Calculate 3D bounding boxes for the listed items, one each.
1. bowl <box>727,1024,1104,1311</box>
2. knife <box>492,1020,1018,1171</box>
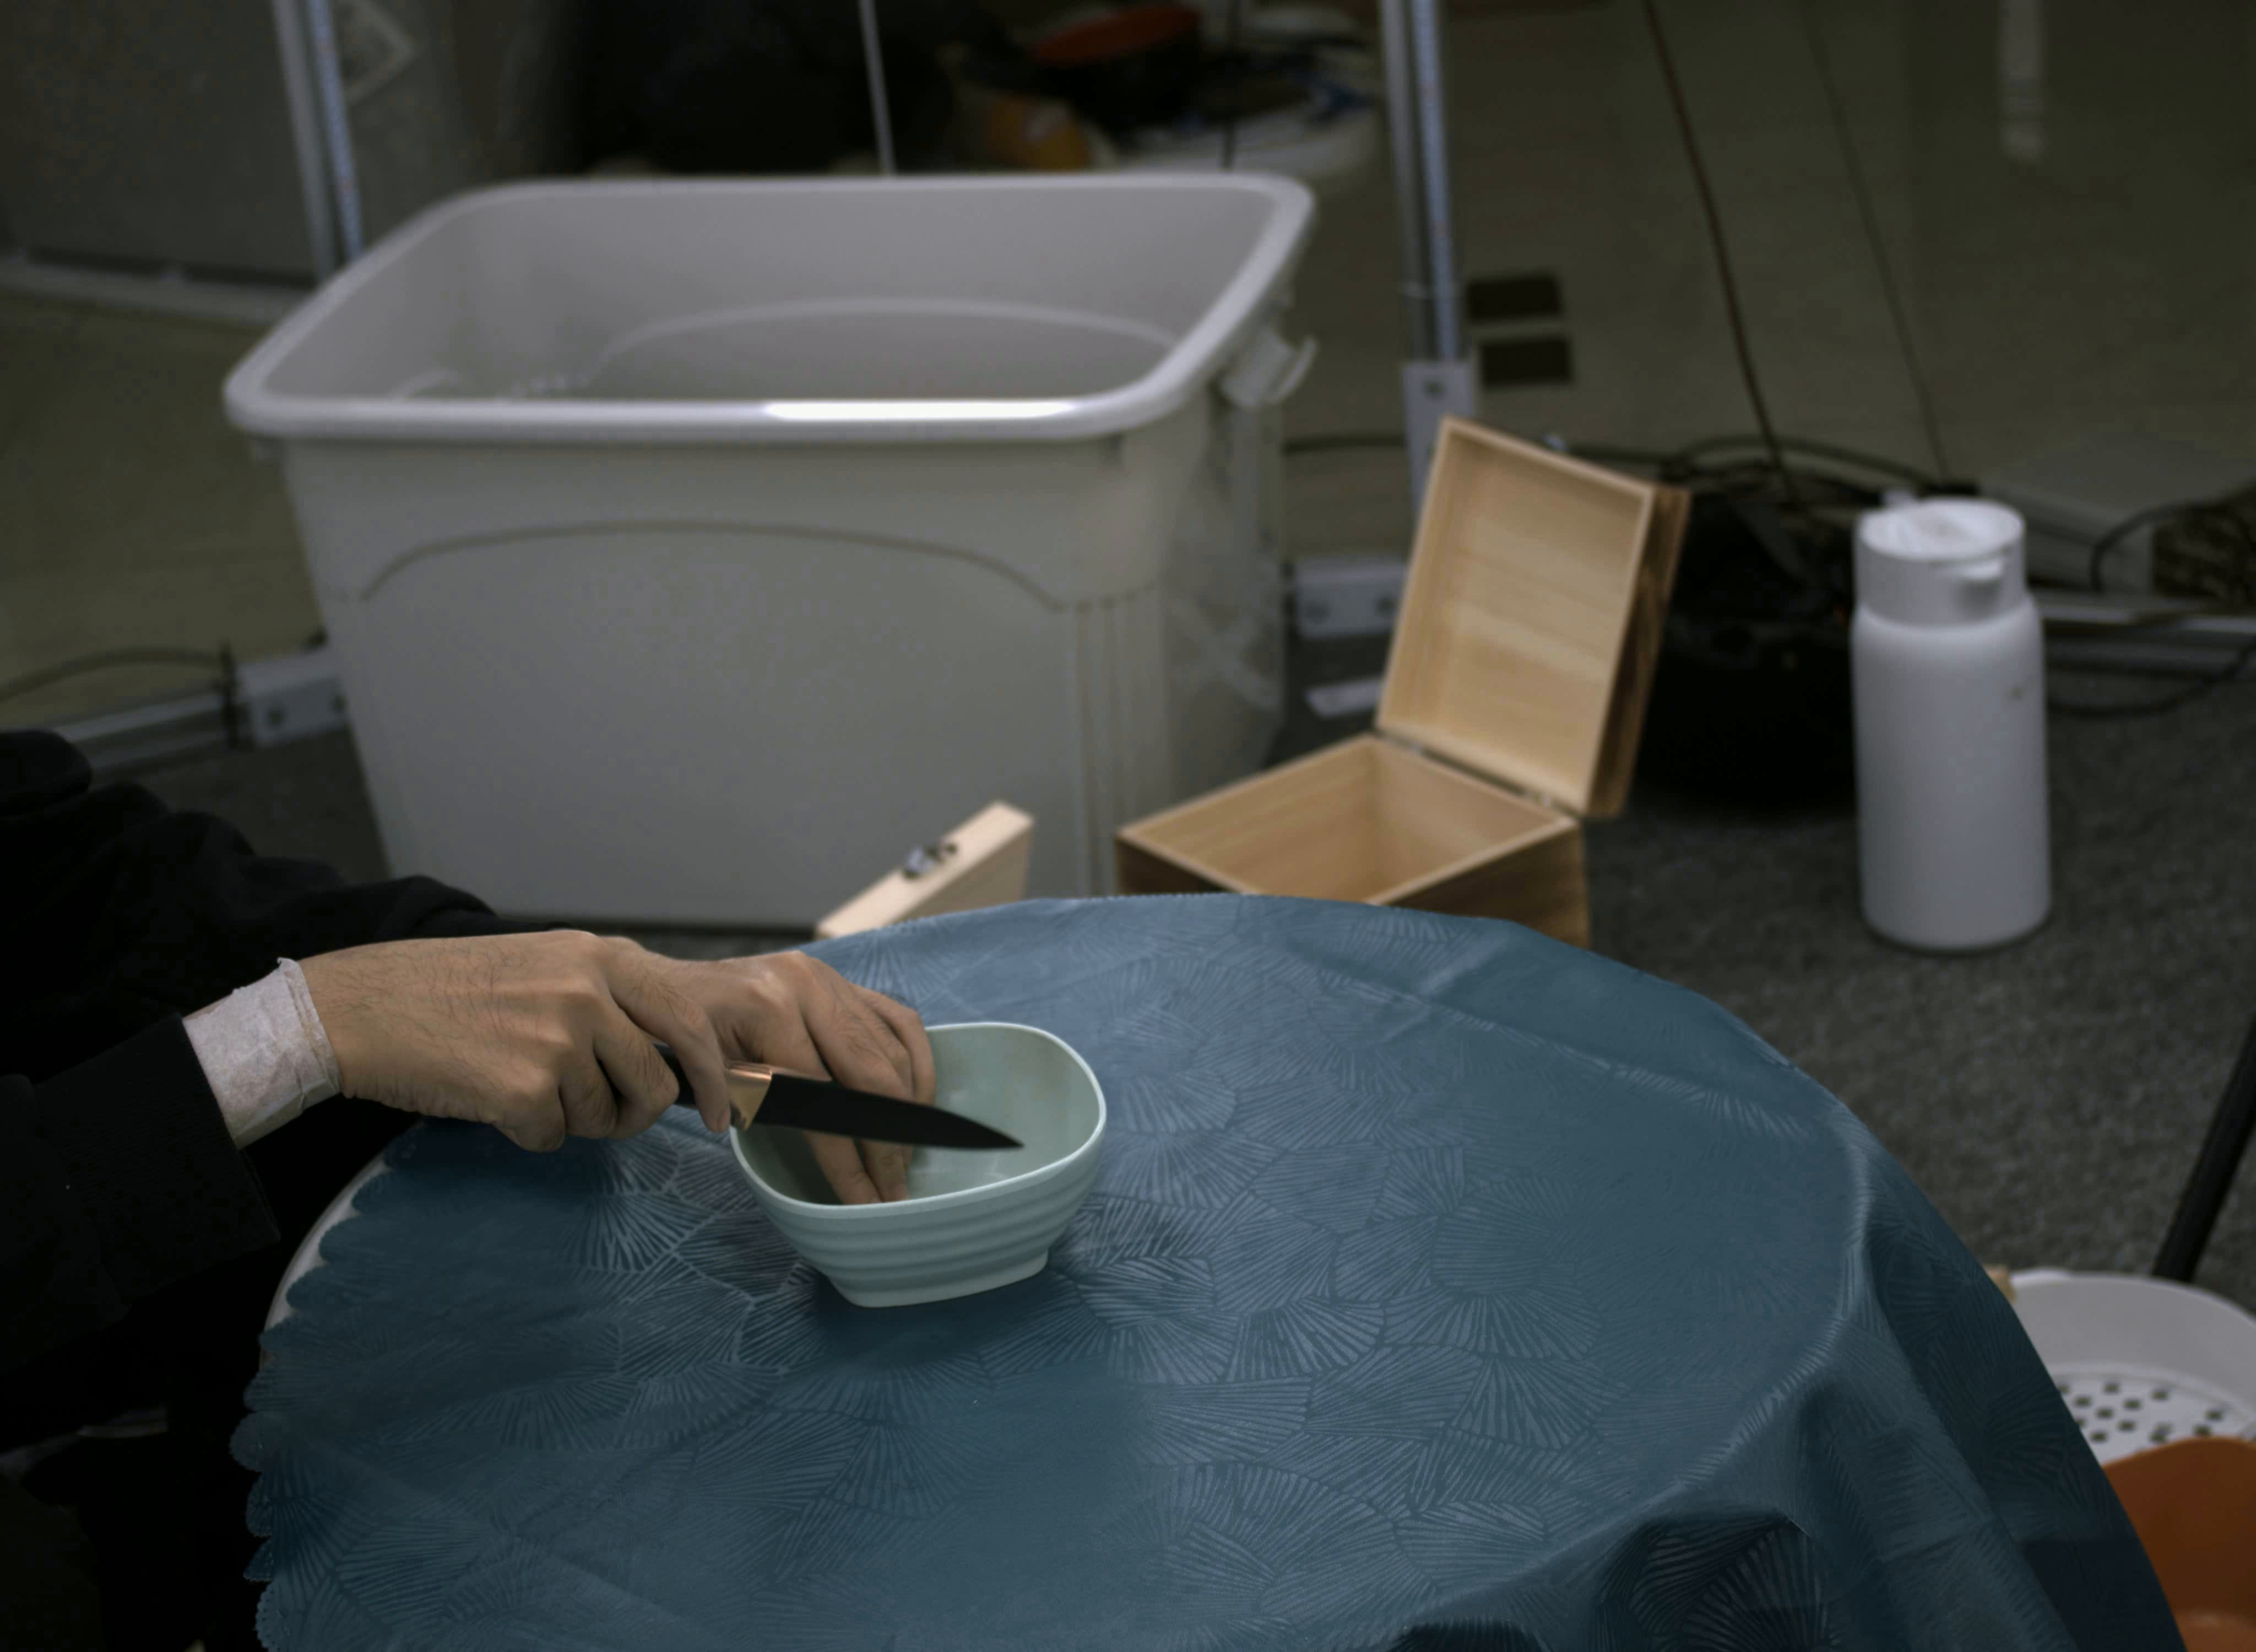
[{"bbox_3d":[-0.077,0.133,2.113,0.151,0.059,0.149,-5,27,2],"label":"bowl"},{"bbox_3d":[-0.133,0.098,2.062,0.226,0.026,0.017,14,20,-32],"label":"knife"}]
